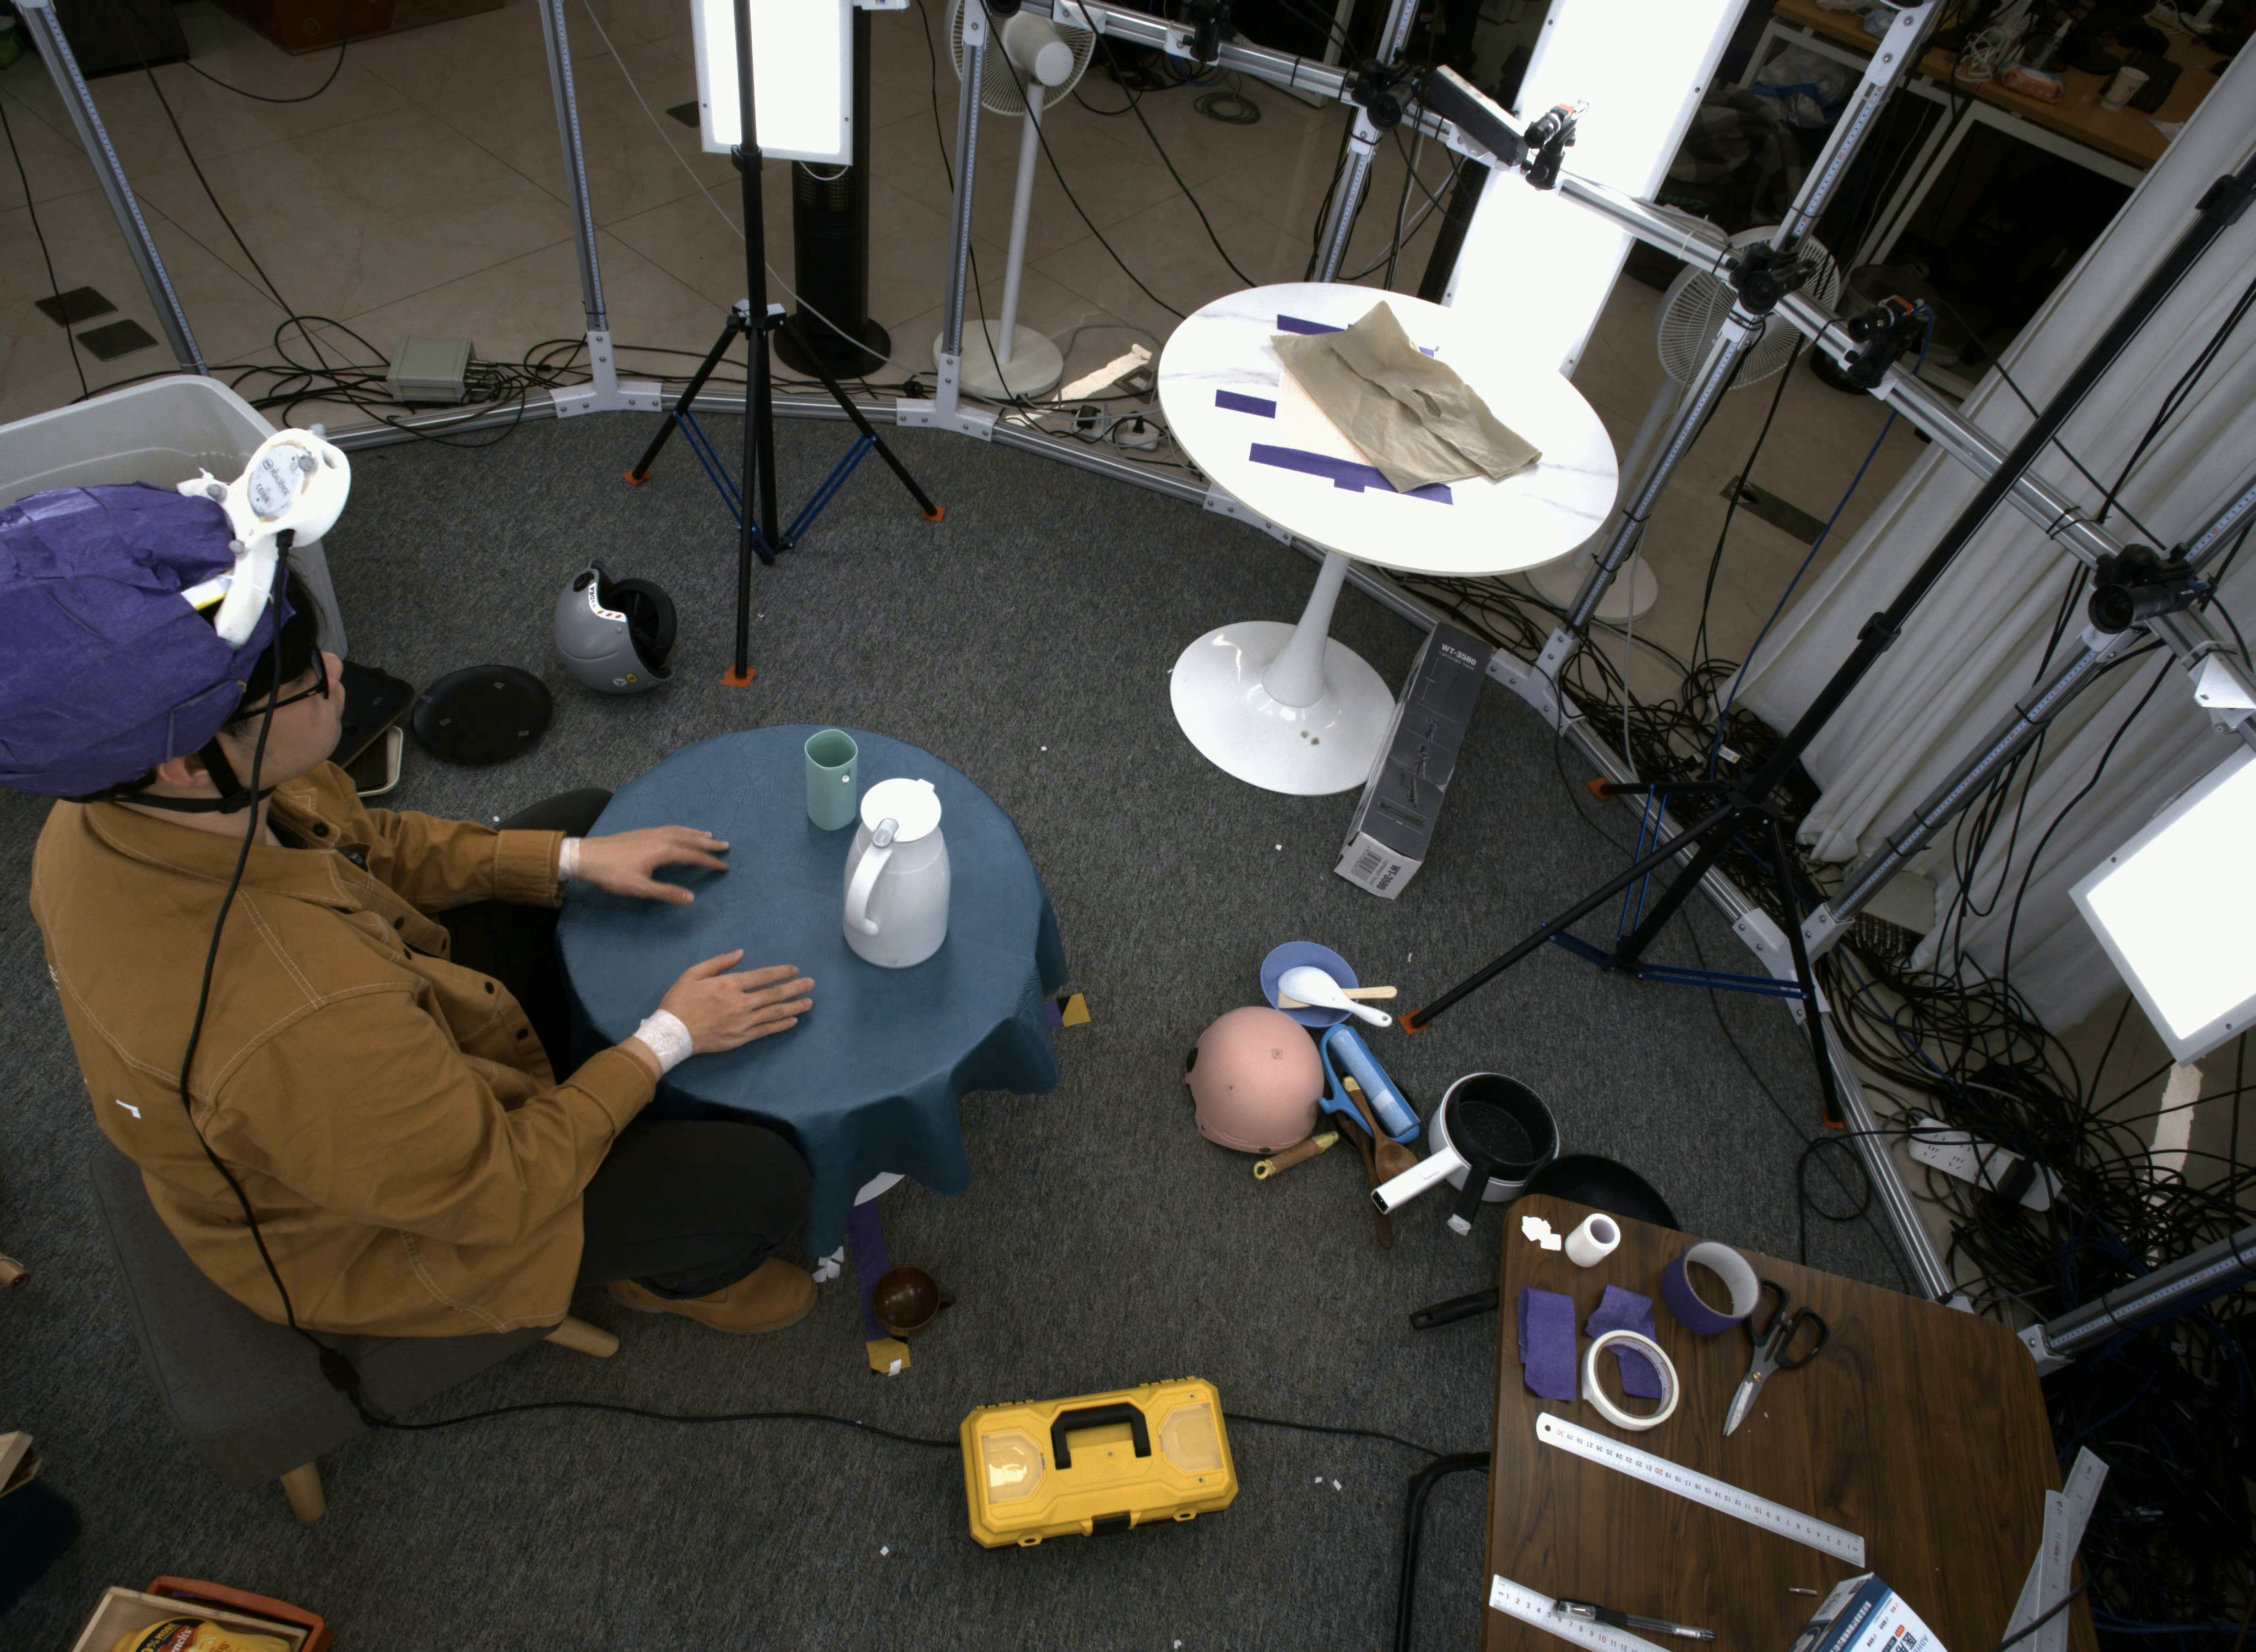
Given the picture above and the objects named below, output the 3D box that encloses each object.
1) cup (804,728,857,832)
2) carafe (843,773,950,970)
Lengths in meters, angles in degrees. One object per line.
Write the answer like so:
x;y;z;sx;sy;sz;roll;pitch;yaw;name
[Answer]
-0.389;-0.059;1.694;0.066;0.135;0.065;7;51;-7;cup
-0.283;0.062;1.552;0.131;0.254;0.166;23;52;6;carafe
